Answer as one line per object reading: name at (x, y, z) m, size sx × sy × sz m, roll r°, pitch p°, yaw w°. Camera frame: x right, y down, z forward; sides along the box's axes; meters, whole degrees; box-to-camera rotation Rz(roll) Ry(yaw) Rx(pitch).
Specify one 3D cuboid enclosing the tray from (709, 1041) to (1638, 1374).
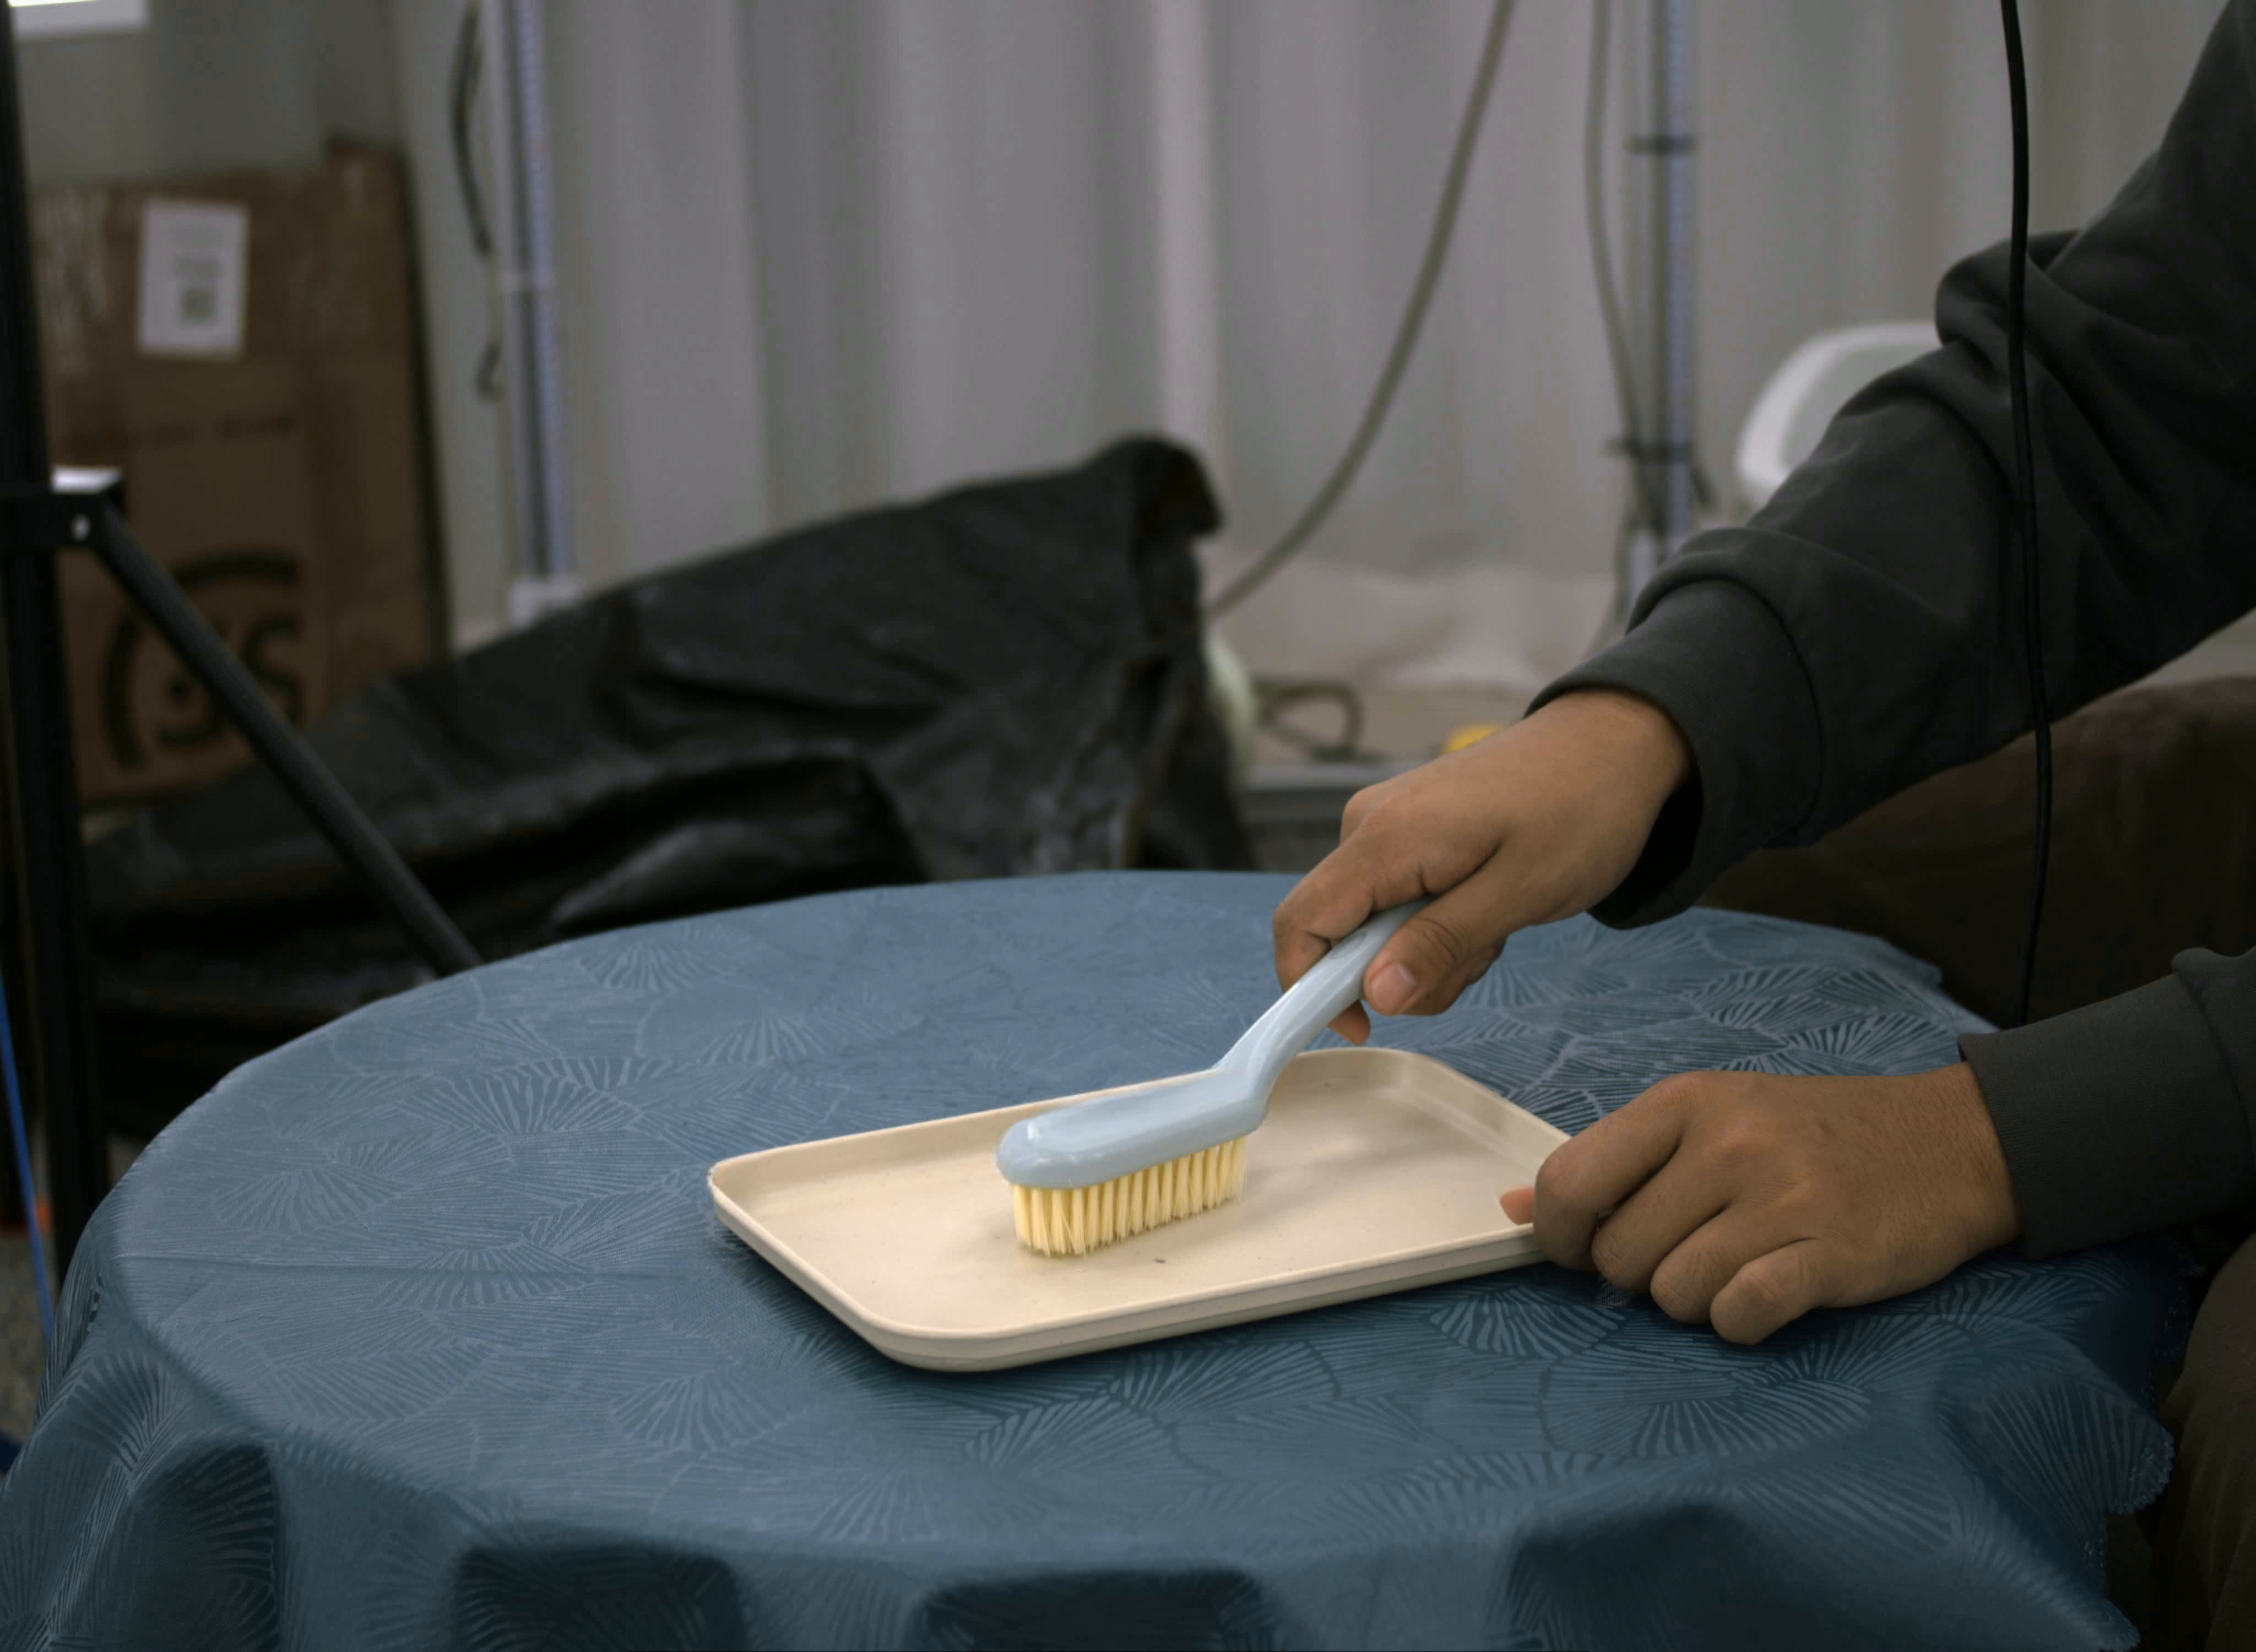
tray at (0.013, 0.108, 1.519) m, size 0.235 × 0.017 × 0.175 m, roll -9°, pitch 18°, yaw -22°

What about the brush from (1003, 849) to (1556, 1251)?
brush at (0.049, 0.065, 1.563) m, size 0.038 × 0.049 × 0.225 m, roll 12°, pitch 34°, yaw 43°
